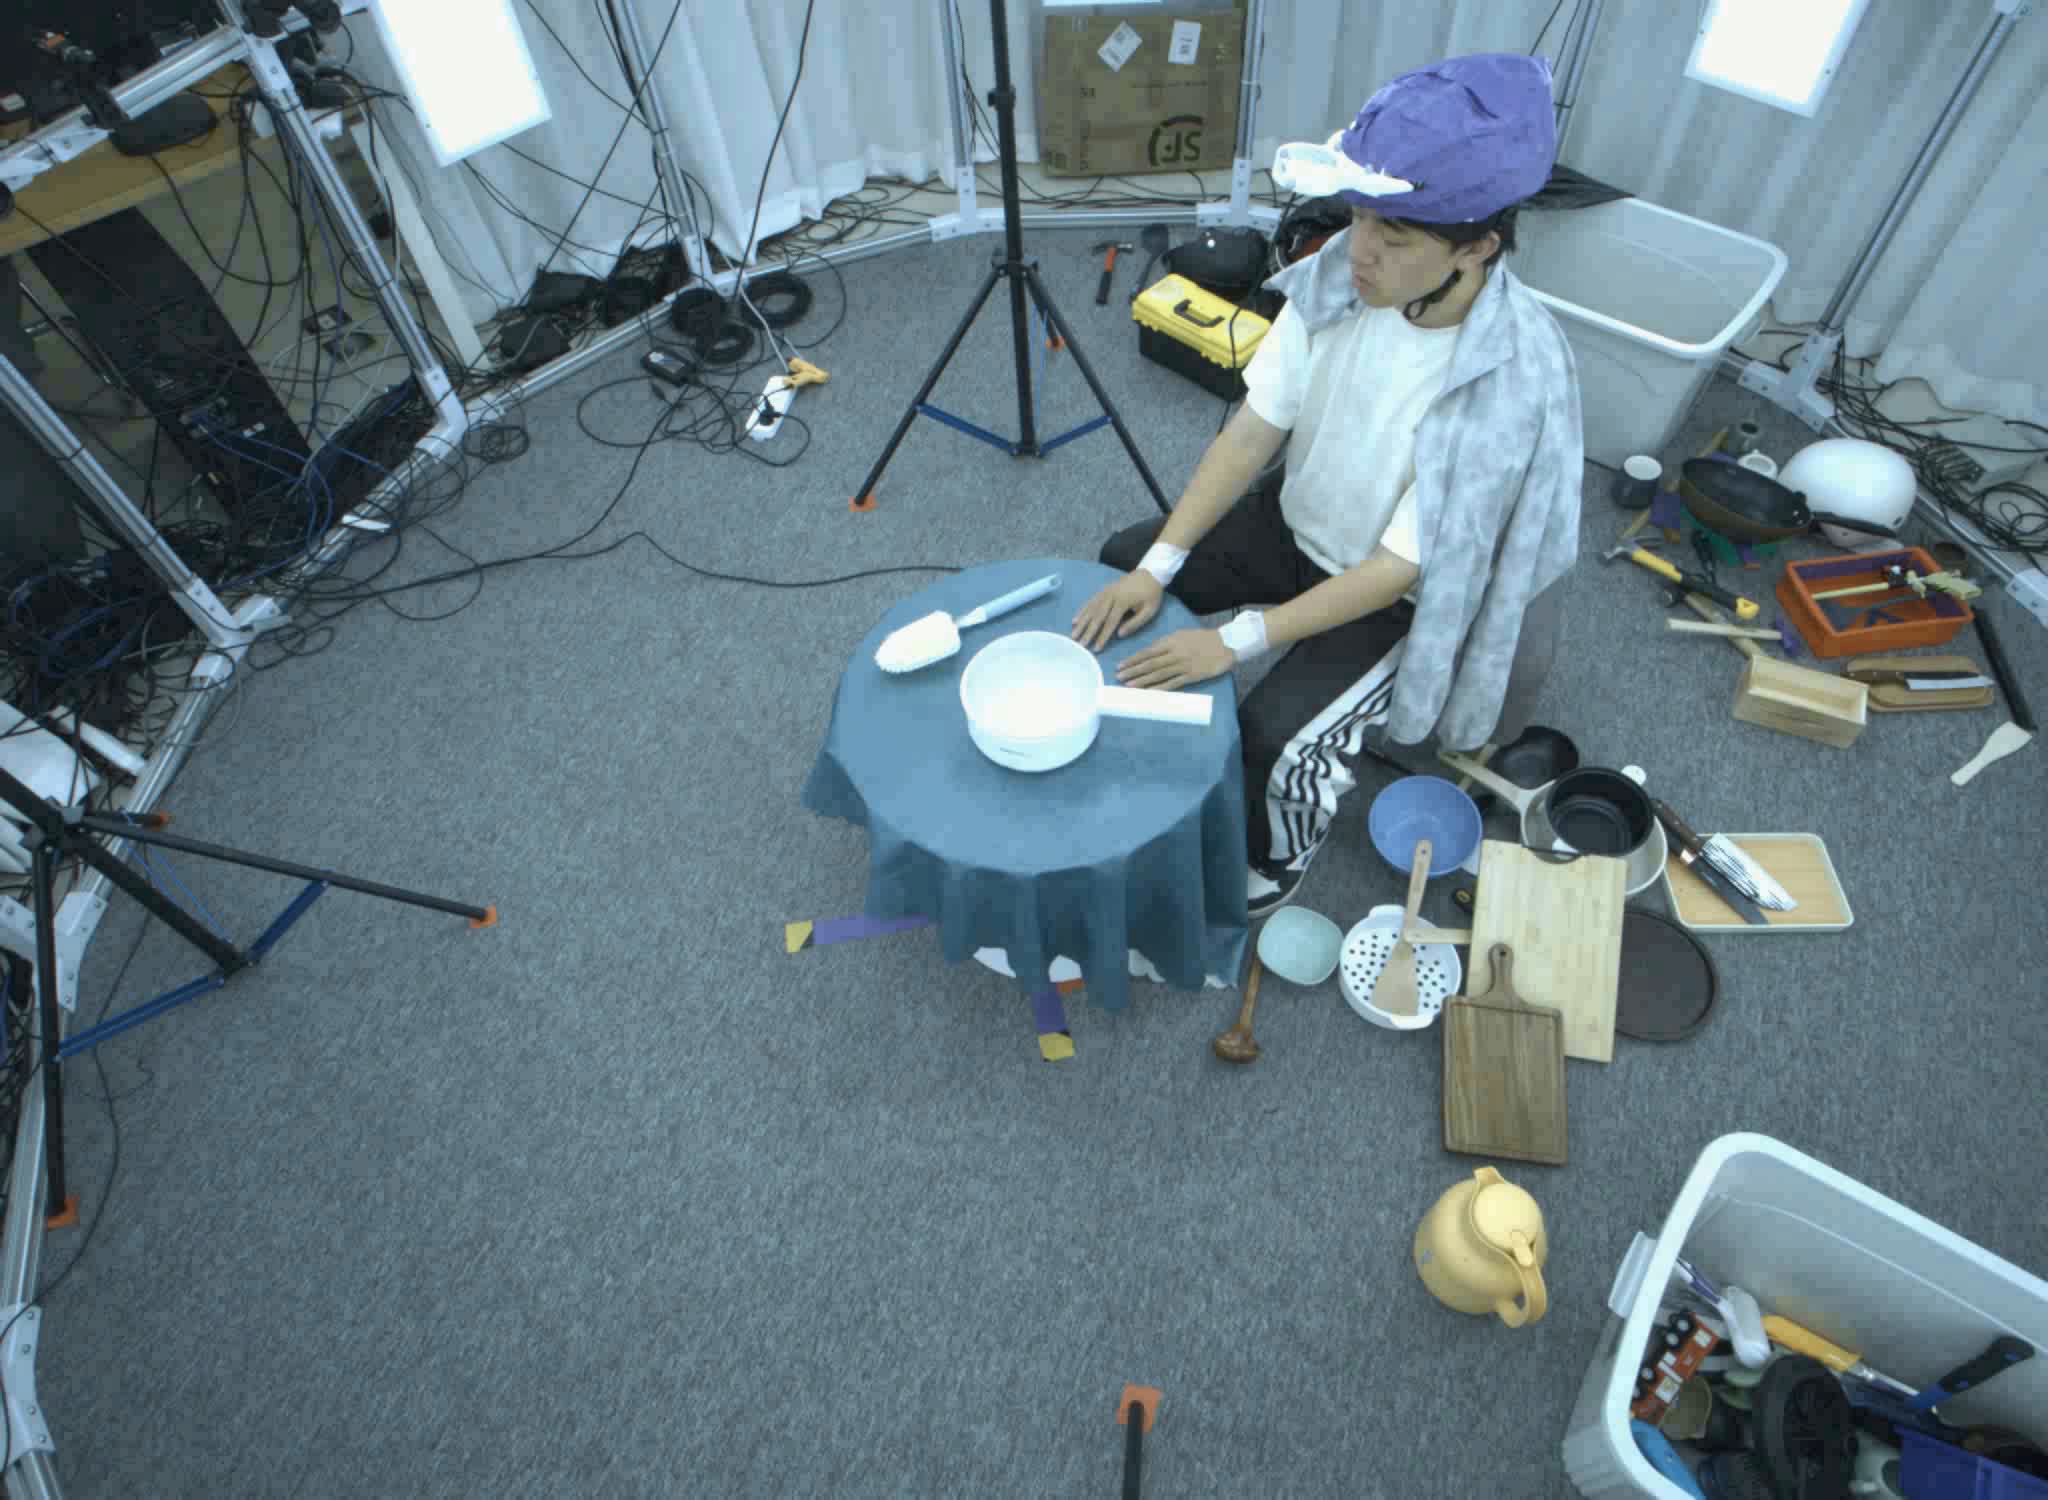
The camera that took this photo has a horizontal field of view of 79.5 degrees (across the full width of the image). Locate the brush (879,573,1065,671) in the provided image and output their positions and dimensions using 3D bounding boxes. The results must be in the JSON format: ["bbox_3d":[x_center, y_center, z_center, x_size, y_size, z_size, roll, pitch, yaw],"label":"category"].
[{"bbox_3d":[-0.073,-0.207,1.887,0.328,0.084,0.083,-26,50,-14],"label":"brush"}]

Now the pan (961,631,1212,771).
[{"bbox_3d":[0.089,-0.057,1.764,0.353,0.103,0.200,7,56,7],"label":"pan"}]
